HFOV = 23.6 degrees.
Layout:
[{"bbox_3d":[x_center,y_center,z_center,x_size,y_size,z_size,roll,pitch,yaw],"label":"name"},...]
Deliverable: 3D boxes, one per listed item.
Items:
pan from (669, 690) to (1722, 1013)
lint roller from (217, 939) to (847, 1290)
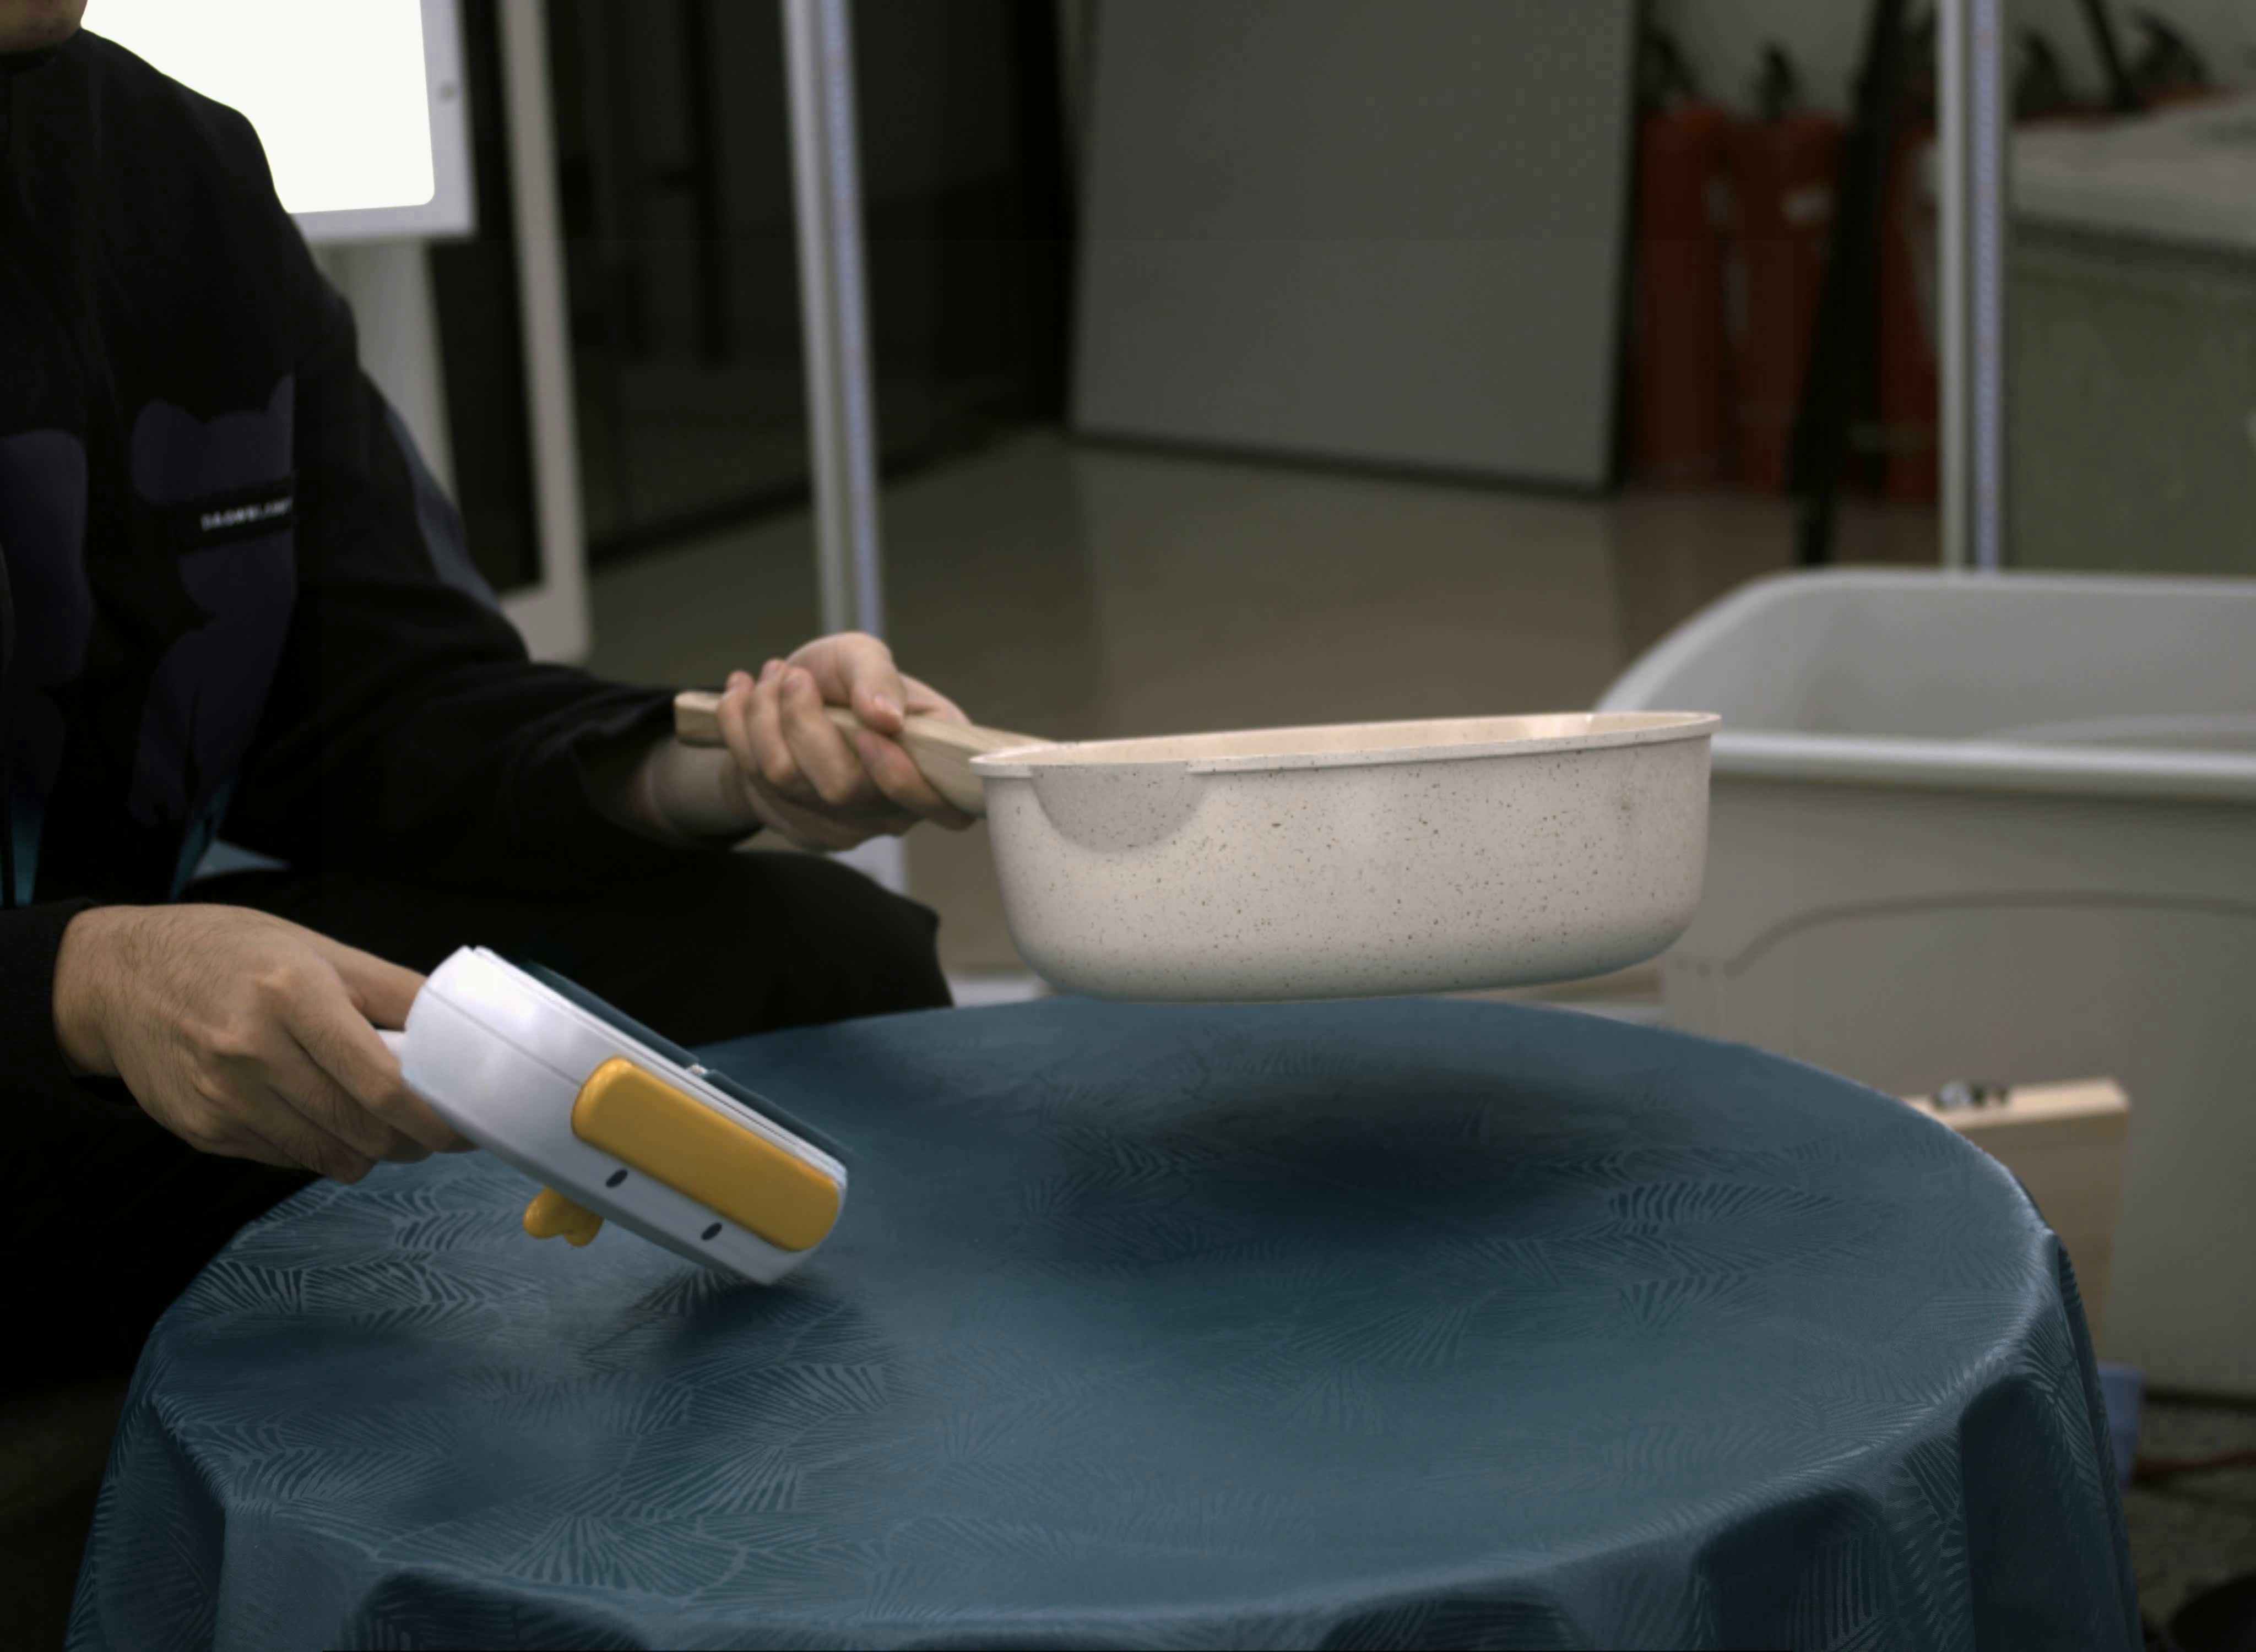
[{"bbox_3d":[0.006,0.004,1.848,0.438,0.103,0.258,-2,5,41],"label":"pan"},{"bbox_3d":[-0.202,0.081,1.672,0.194,0.075,0.189,18,-6,37],"label":"lint roller"}]
